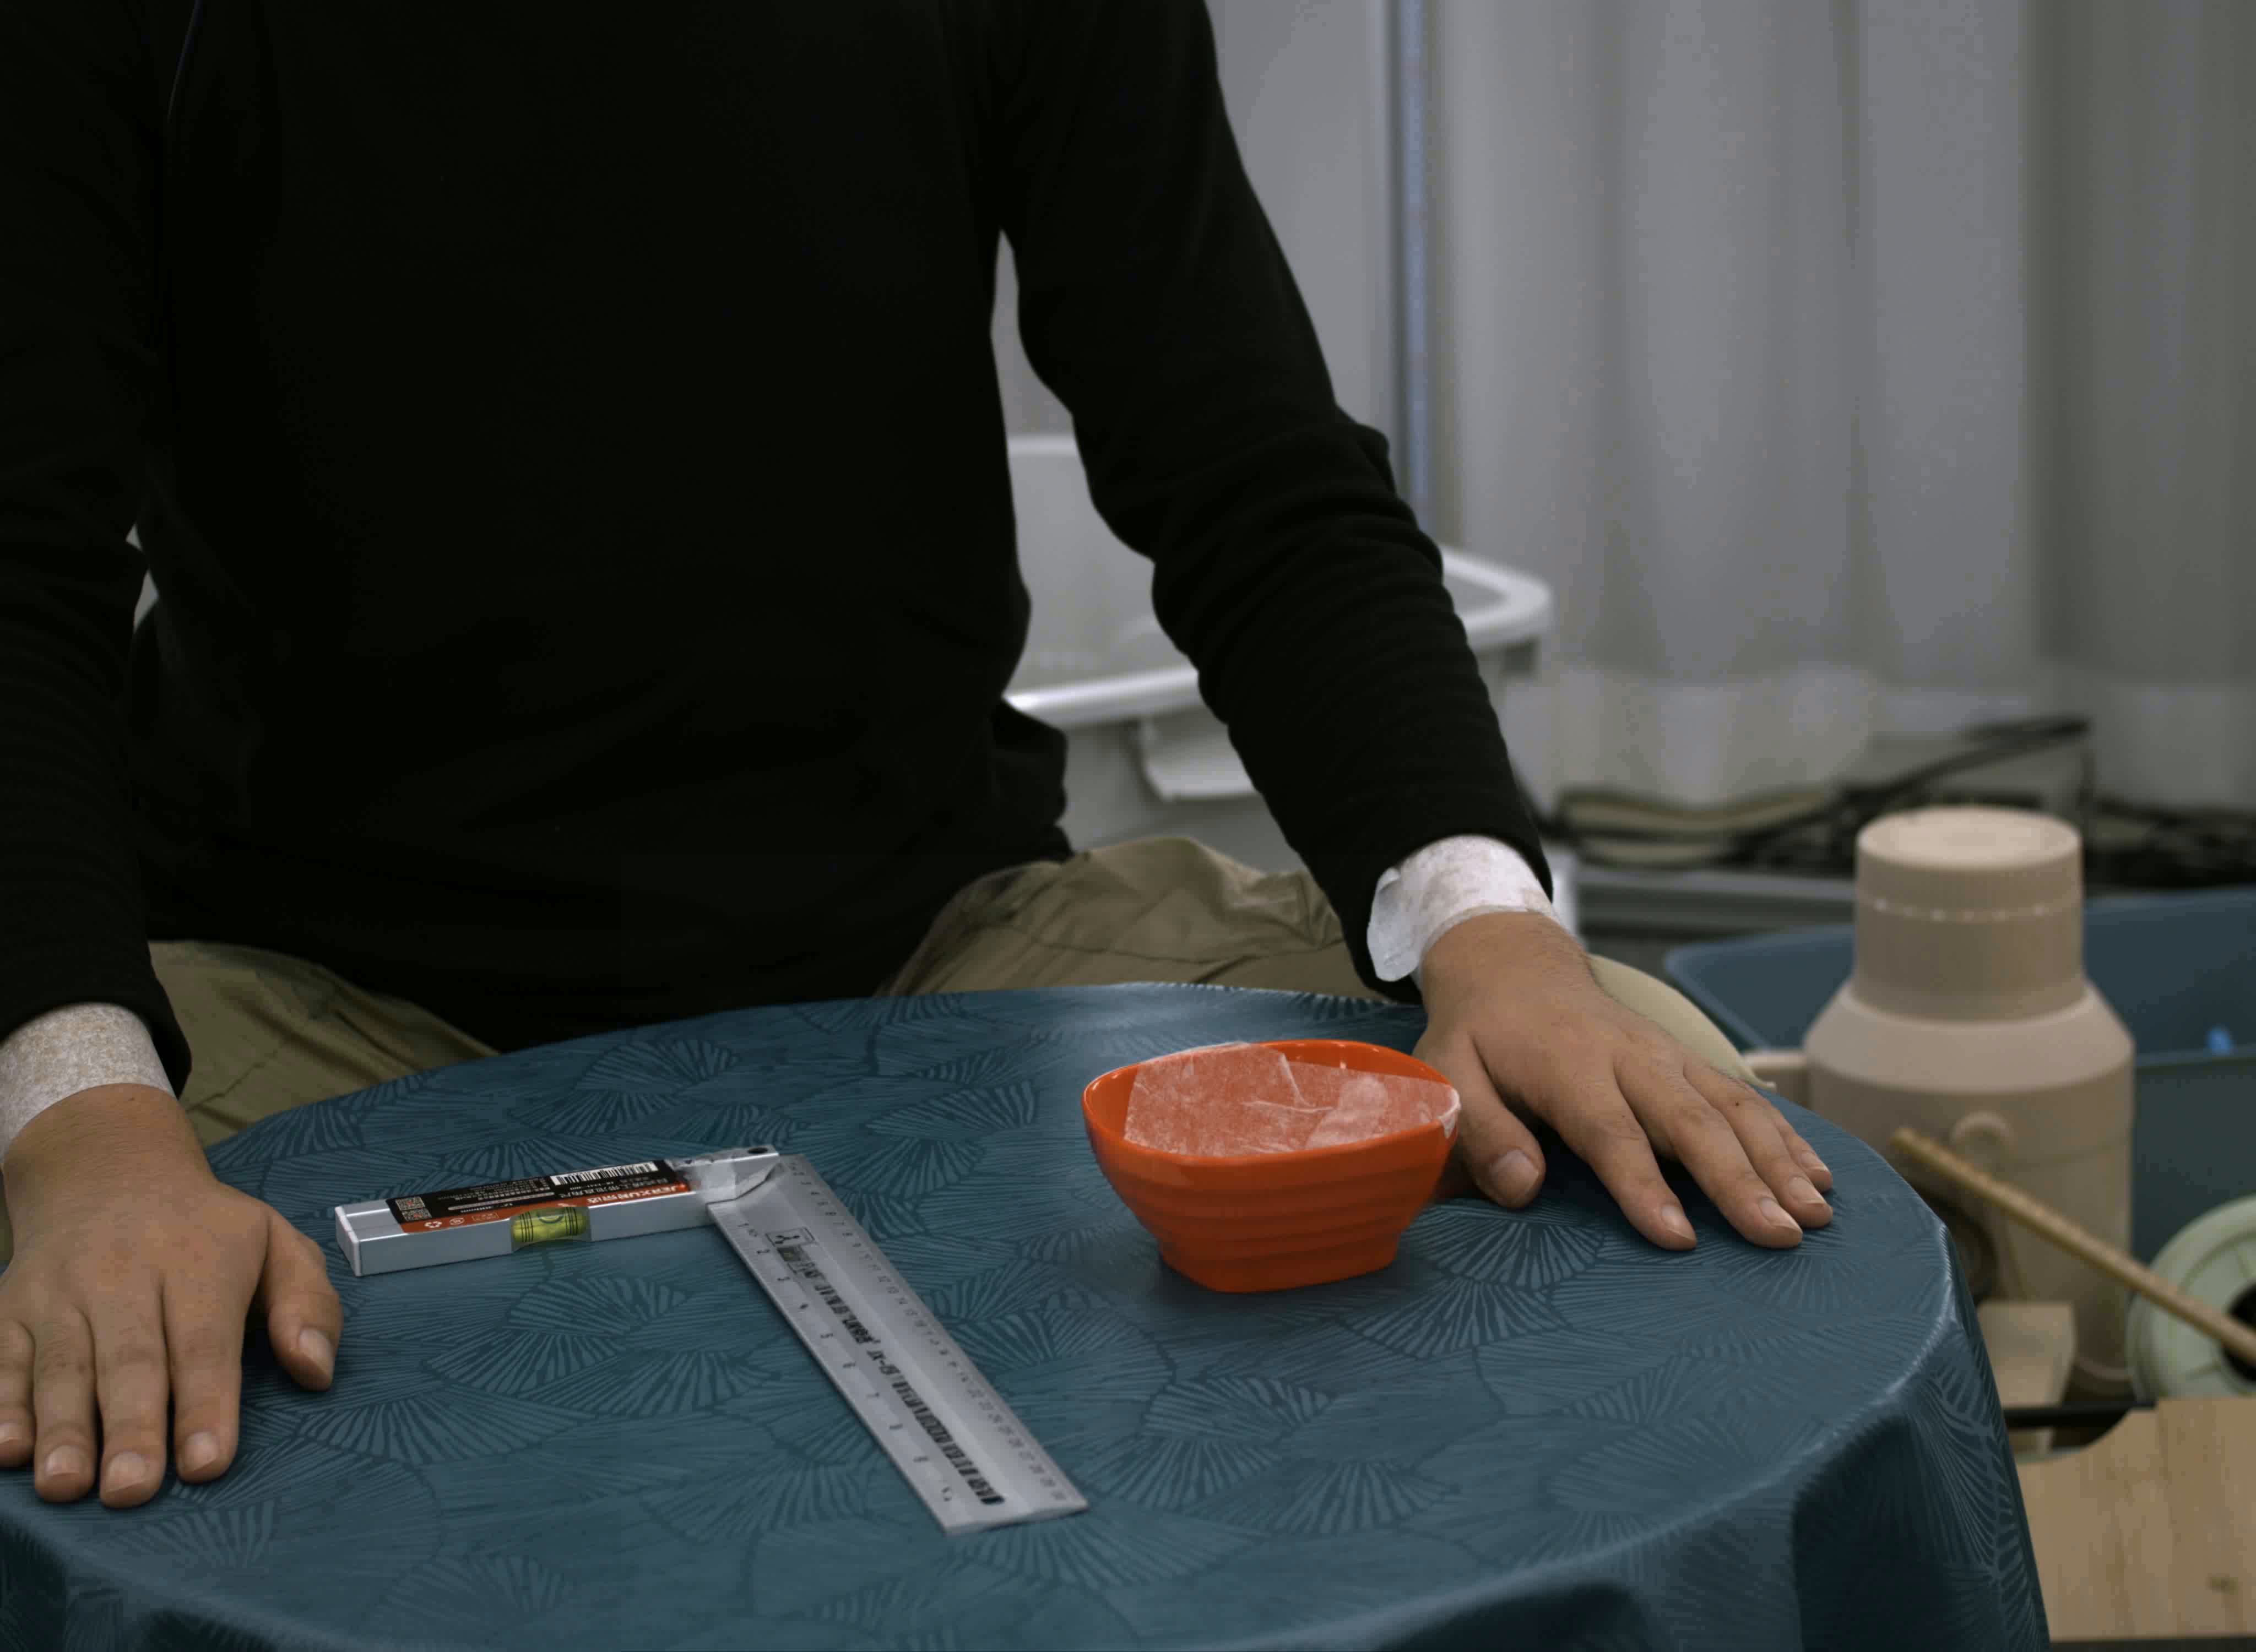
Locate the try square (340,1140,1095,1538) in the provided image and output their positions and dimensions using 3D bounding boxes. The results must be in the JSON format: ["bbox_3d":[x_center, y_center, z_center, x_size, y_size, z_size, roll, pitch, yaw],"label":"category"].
[{"bbox_3d":[-0.127,0.155,1.582,0.151,0.016,0.315,-11,17,-15],"label":"try square"}]

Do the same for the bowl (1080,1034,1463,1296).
[{"bbox_3d":[0.044,0.104,1.644,0.118,0.051,0.120,-4,16,1],"label":"bowl"}]
